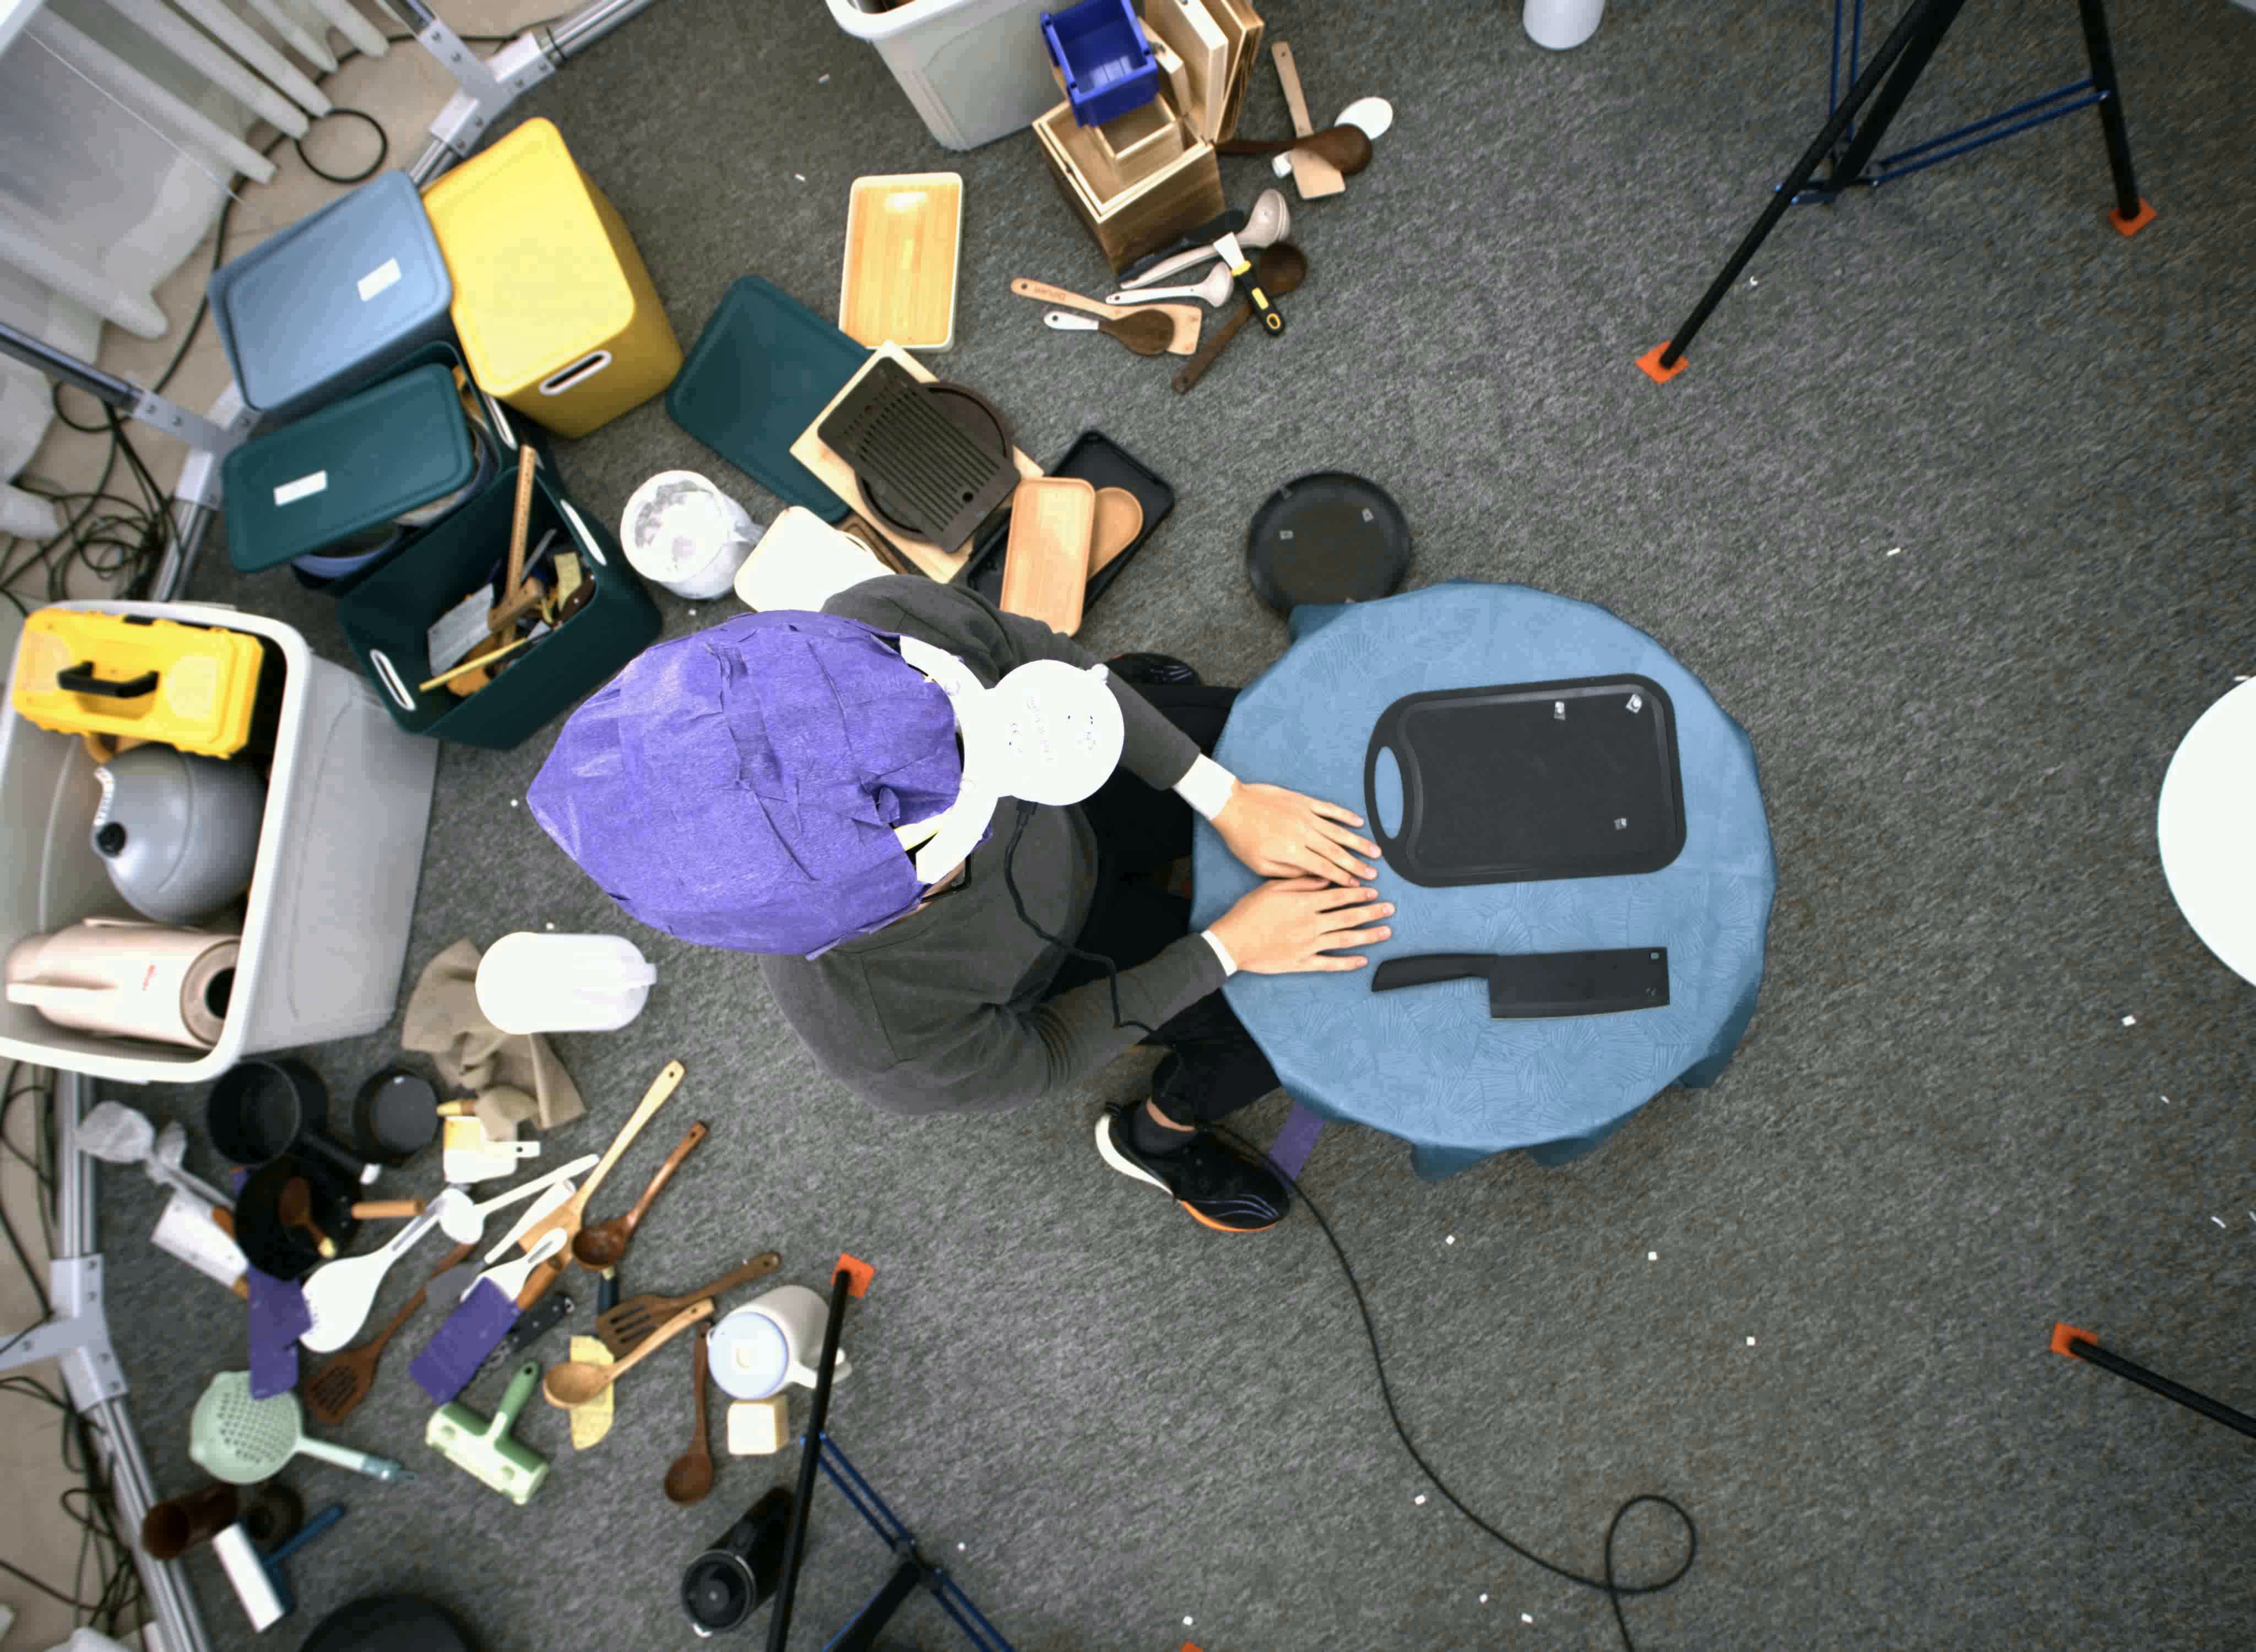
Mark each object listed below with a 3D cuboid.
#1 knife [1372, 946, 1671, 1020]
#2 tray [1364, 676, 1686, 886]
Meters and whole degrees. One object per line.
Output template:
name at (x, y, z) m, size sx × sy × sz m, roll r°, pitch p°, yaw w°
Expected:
knife at (0.405, 0.158, 1.423) m, size 0.303 × 0.021 × 0.080 m, roll 0°, pitch 88°, yaw 9°
tray at (0.412, -0.049, 1.437) m, size 0.327 × 0.010 × 0.210 m, roll -4°, pitch 86°, yaw 11°
